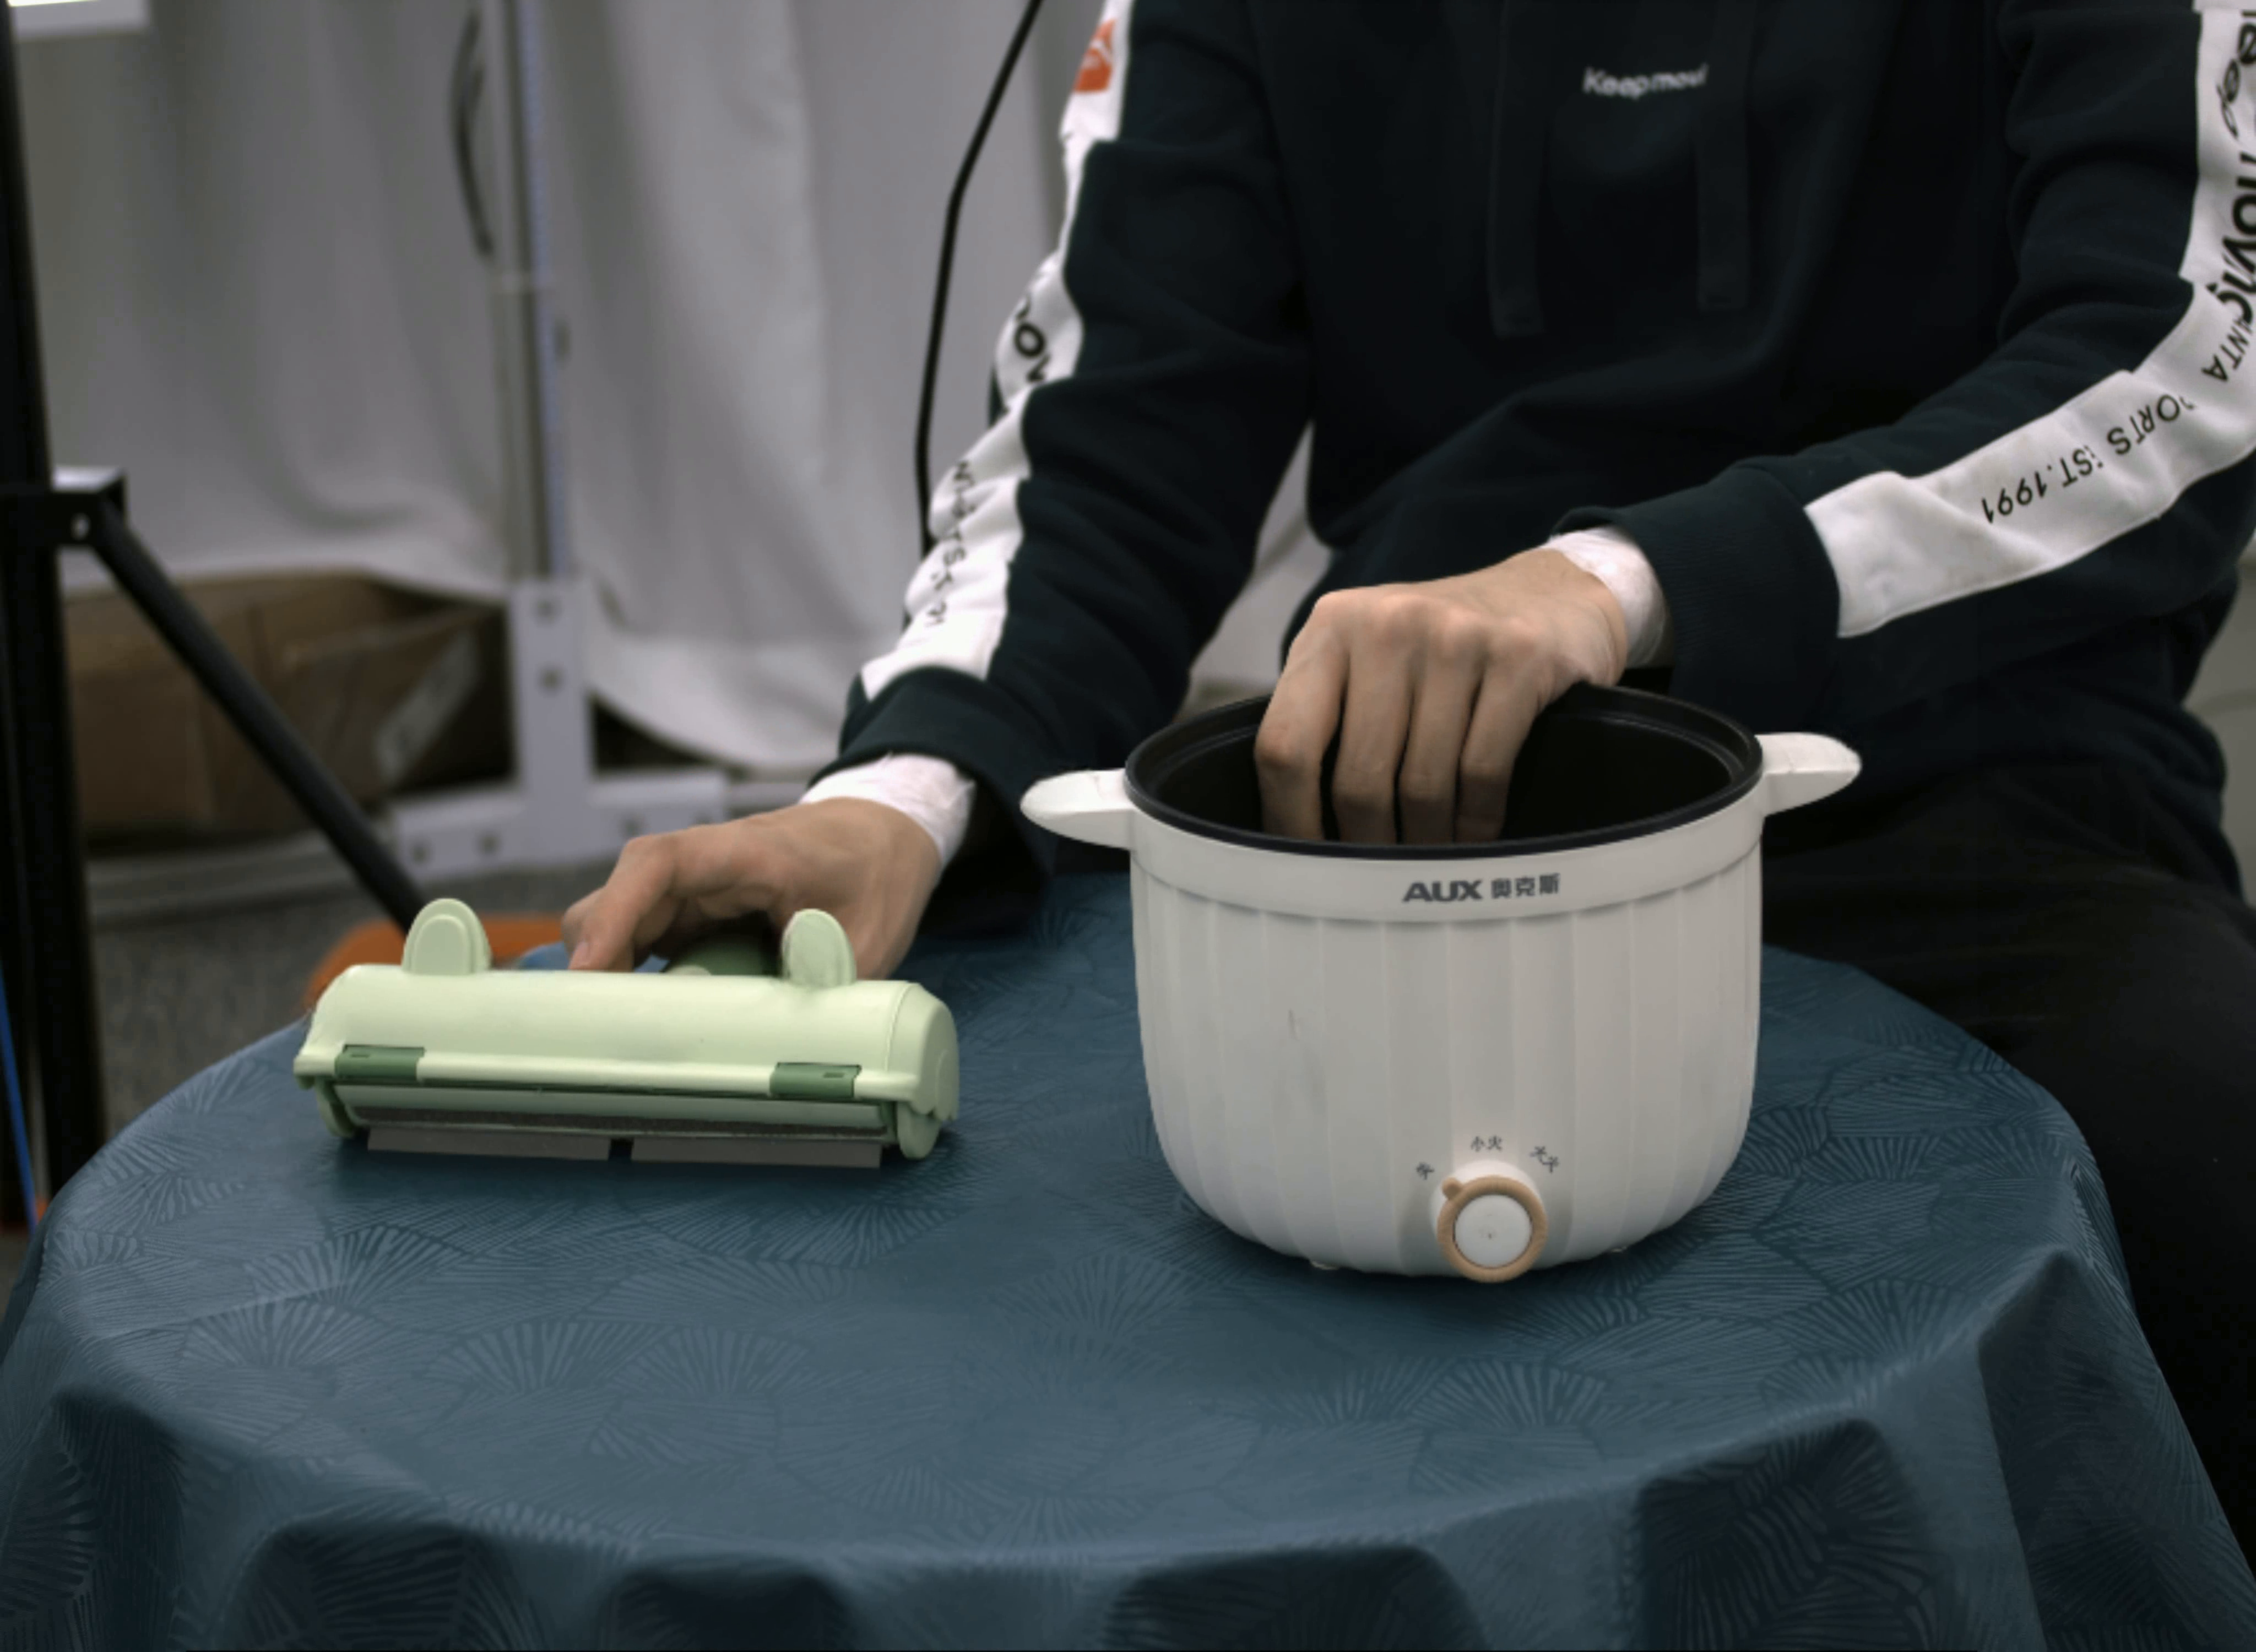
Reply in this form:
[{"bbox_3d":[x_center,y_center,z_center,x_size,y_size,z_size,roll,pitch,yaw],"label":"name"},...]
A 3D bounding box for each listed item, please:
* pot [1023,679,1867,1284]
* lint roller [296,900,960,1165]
[{"bbox_3d":[0.094,0.047,1.507,0.239,0.143,0.191,-4,13,-1],"label":"pot"},{"bbox_3d":[-0.139,0.045,1.665,0.200,0.082,0.182,1,21,14],"label":"lint roller"}]
